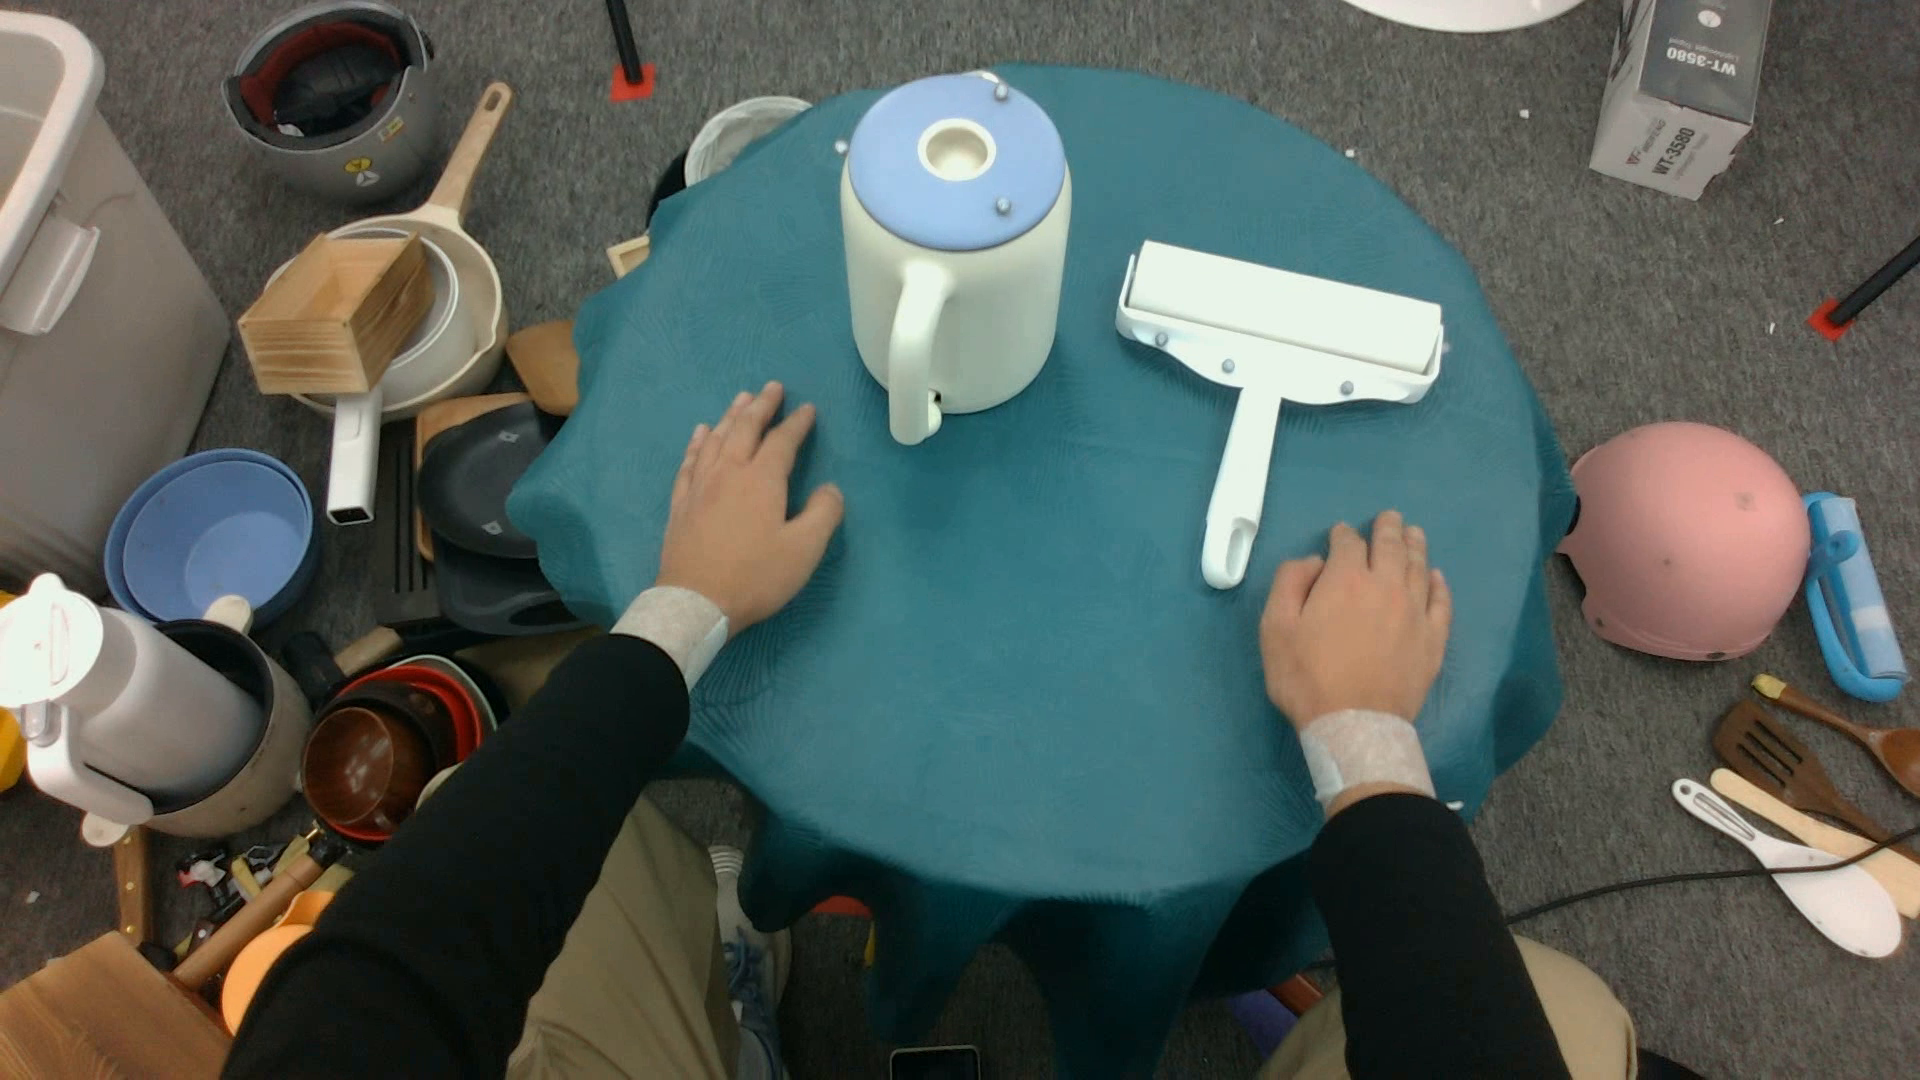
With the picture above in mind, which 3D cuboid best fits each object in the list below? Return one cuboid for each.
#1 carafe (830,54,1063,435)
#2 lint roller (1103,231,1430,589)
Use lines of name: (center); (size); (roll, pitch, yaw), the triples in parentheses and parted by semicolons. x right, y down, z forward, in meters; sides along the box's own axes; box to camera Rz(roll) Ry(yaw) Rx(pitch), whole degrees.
carafe: (-0.014, -0.157, 0.809); (0.132, 0.182, 0.192); (11, 67, 4)
lint roller: (0.176, -0.076, 0.847); (0.203, 0.048, 0.226); (14, 66, 3)
